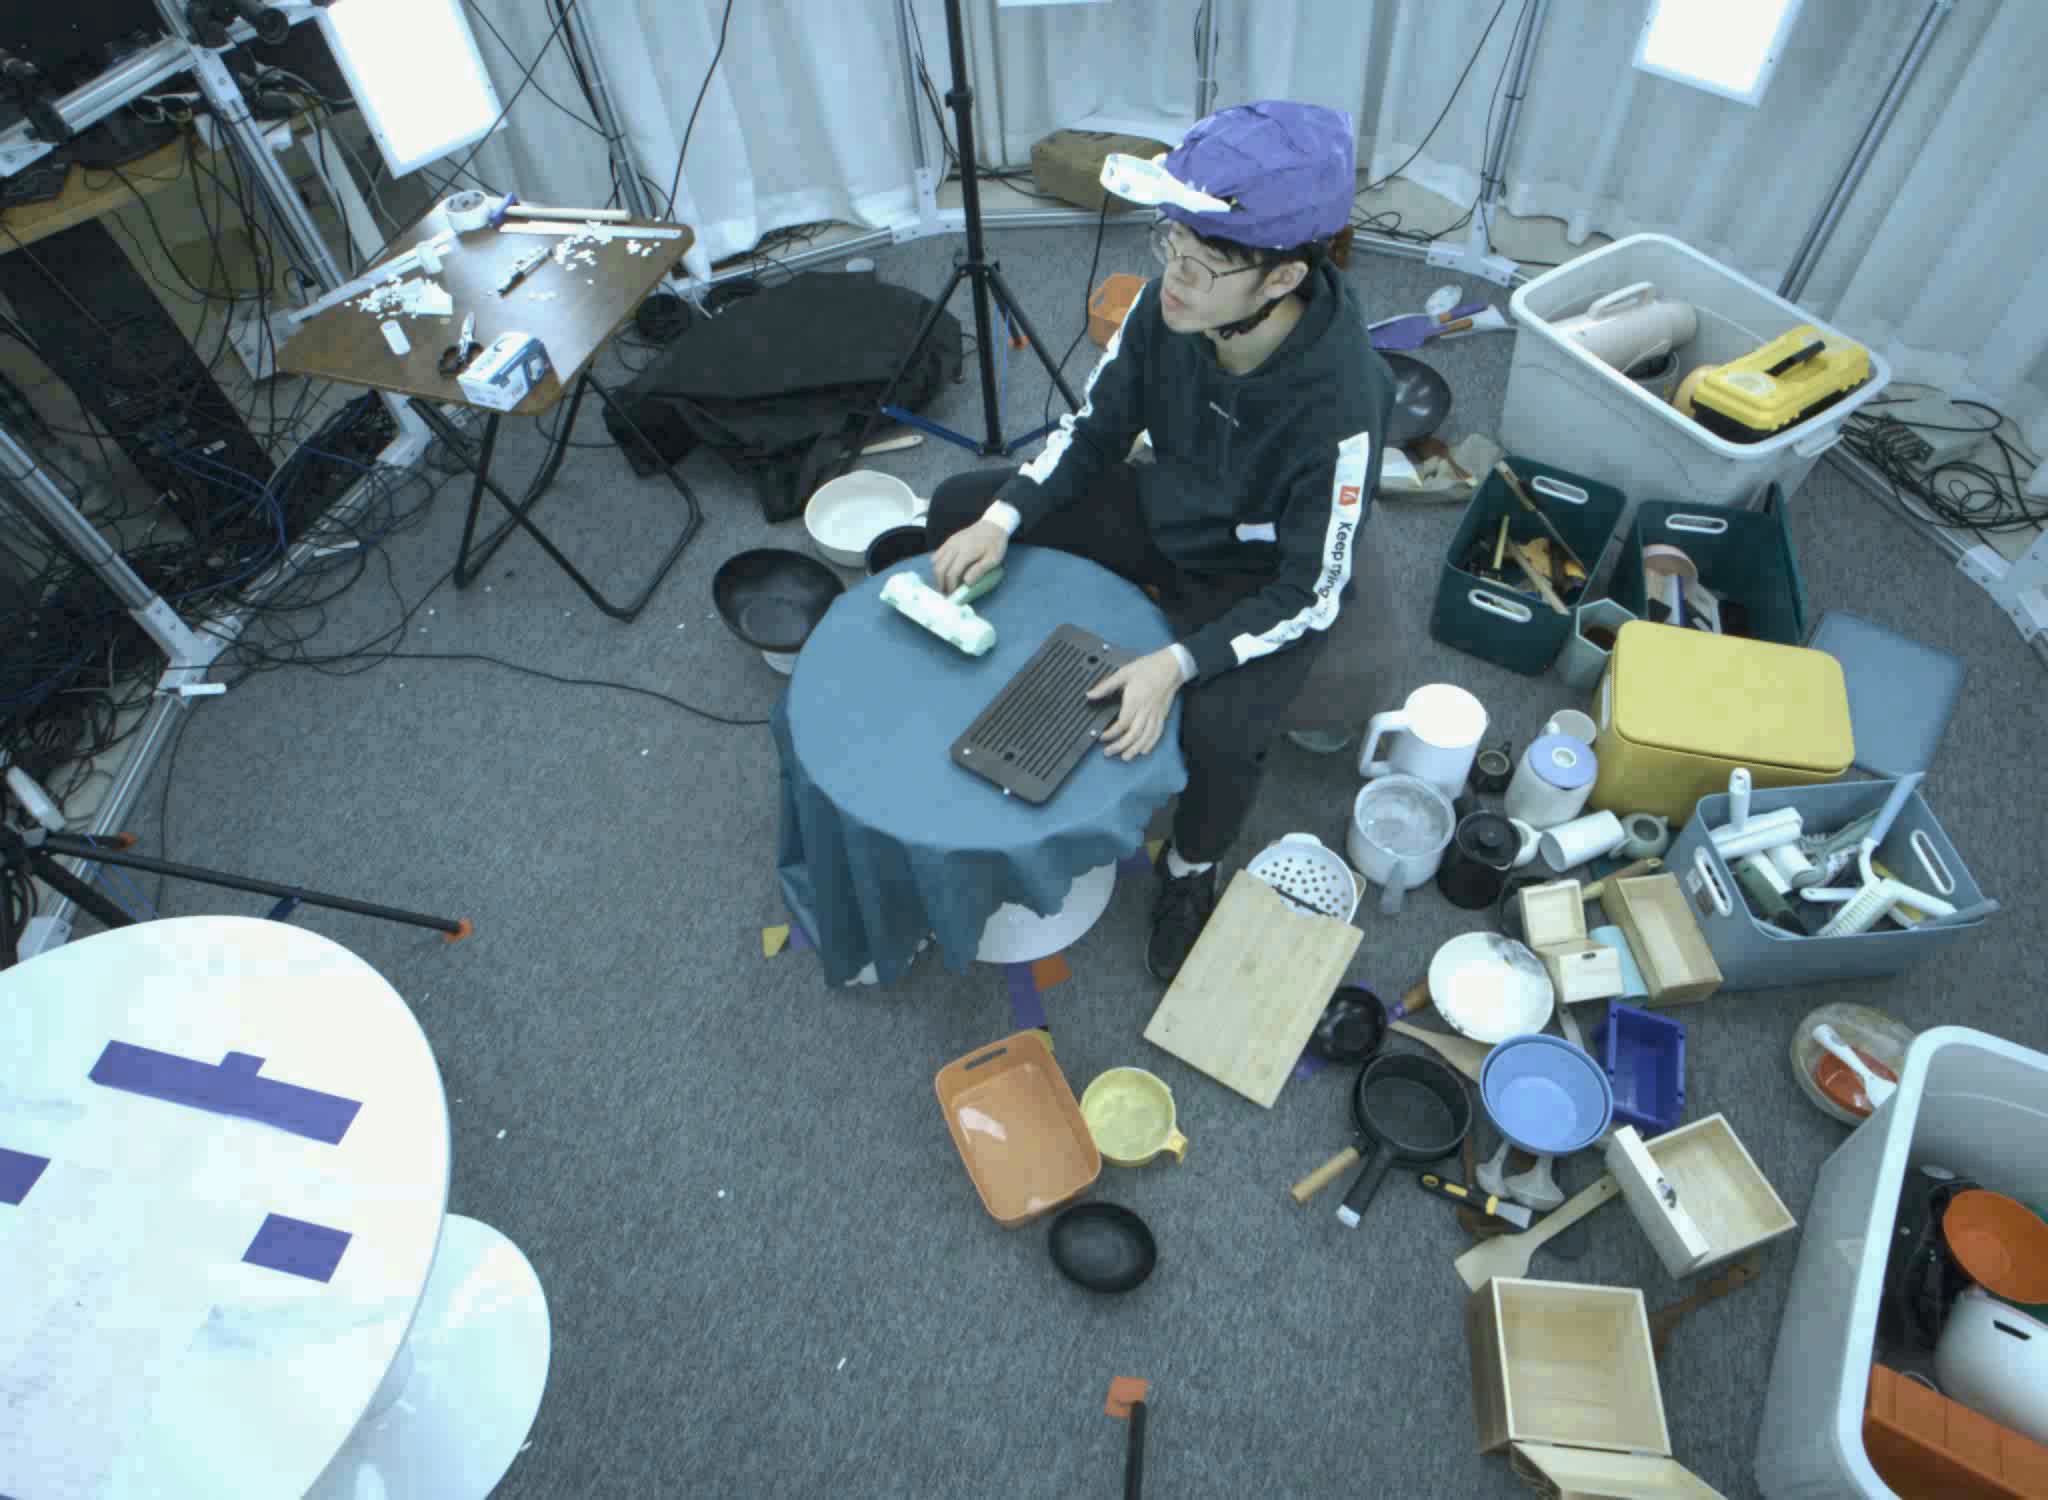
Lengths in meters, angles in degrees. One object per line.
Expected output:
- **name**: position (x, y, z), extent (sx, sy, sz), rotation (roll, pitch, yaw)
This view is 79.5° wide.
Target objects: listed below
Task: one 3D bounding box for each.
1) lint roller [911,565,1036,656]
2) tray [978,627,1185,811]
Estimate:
- **lint roller**: position (-0.049, -0.251, 1.913), extent (0.195, 0.083, 0.184), rotation (35, 66, 24)
- **tray**: position (0.087, -0.050, 1.804), extent (0.167, 0.019, 0.307), rotation (31, 61, 22)
